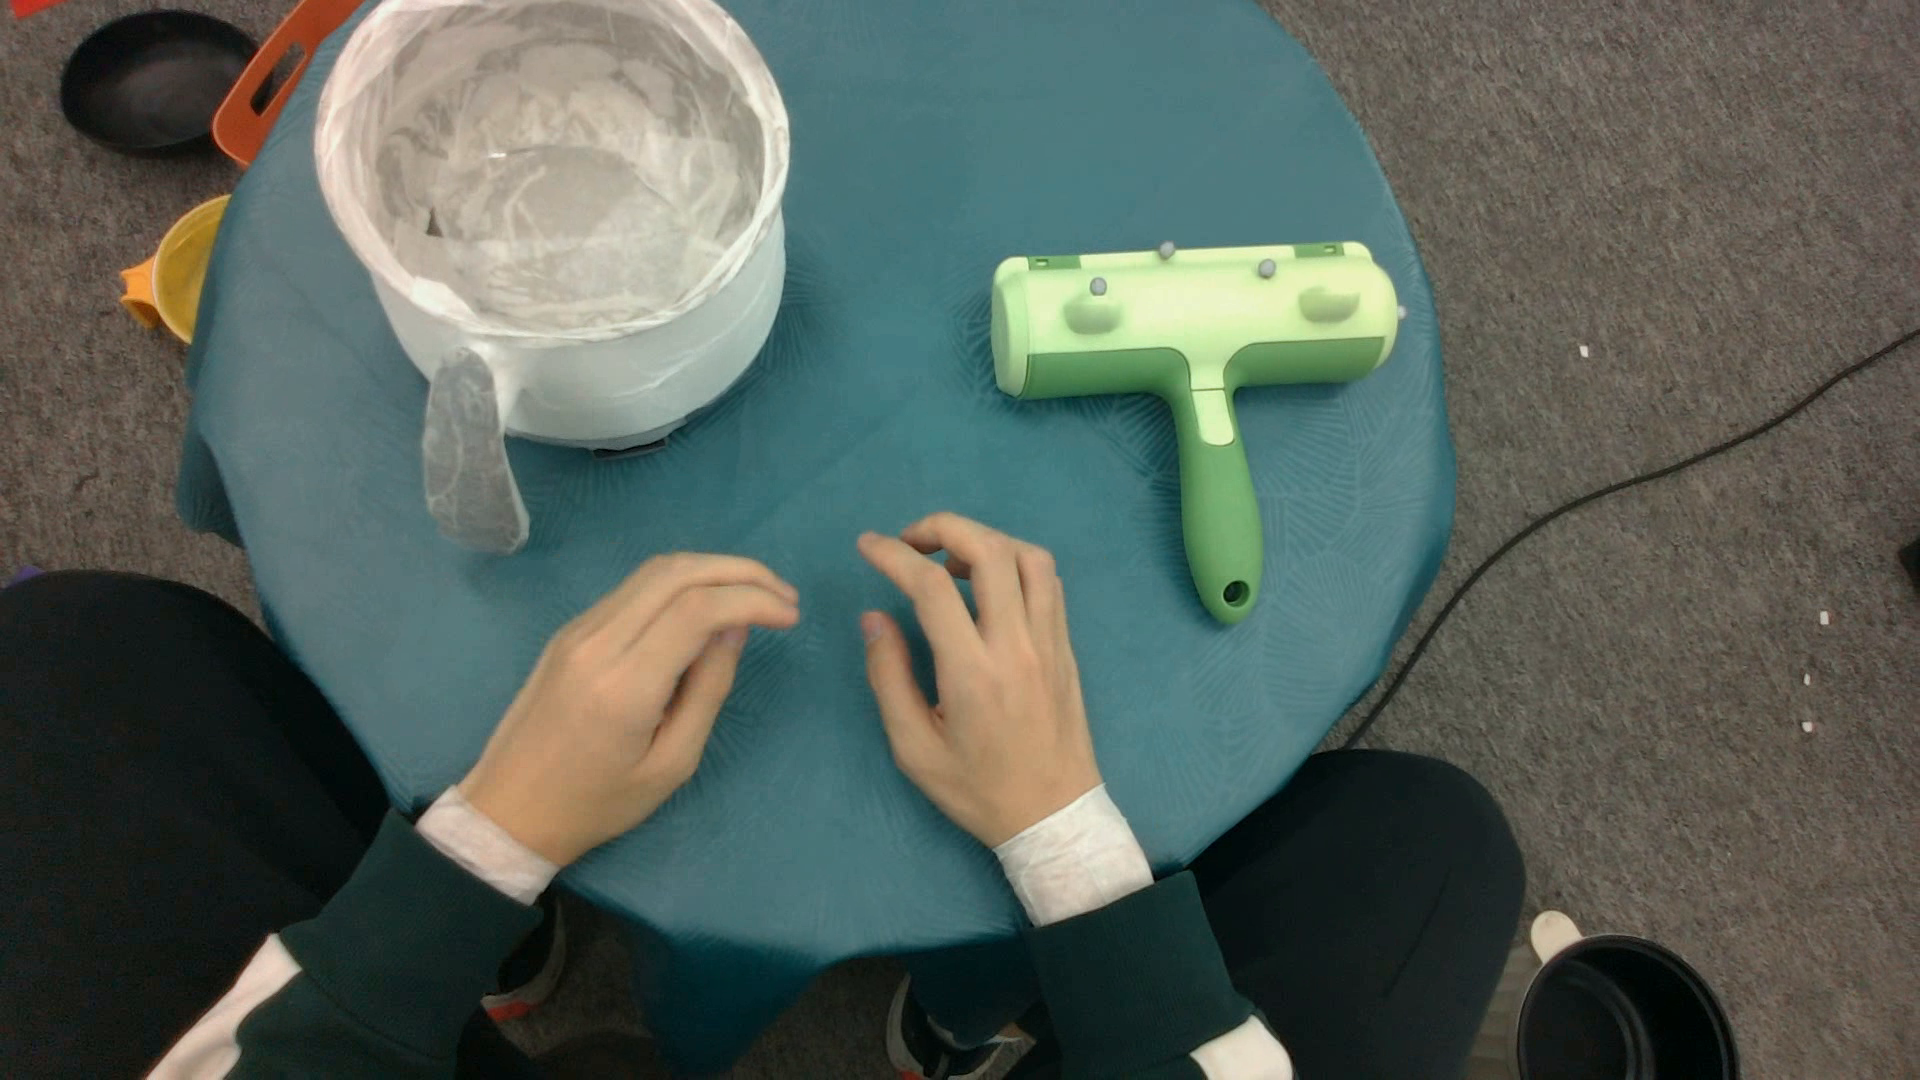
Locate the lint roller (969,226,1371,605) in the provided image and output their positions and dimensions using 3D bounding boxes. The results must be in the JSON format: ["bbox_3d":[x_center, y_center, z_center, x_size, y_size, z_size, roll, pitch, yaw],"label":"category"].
[{"bbox_3d":[0.113,-0.066,0.652,0.199,0.082,0.184,-5,69,-11],"label":"lint roller"}]

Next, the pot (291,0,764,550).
[{"bbox_3d":[-0.181,-0.116,0.585,0.179,0.136,0.234,14,70,-4],"label":"pot"}]
